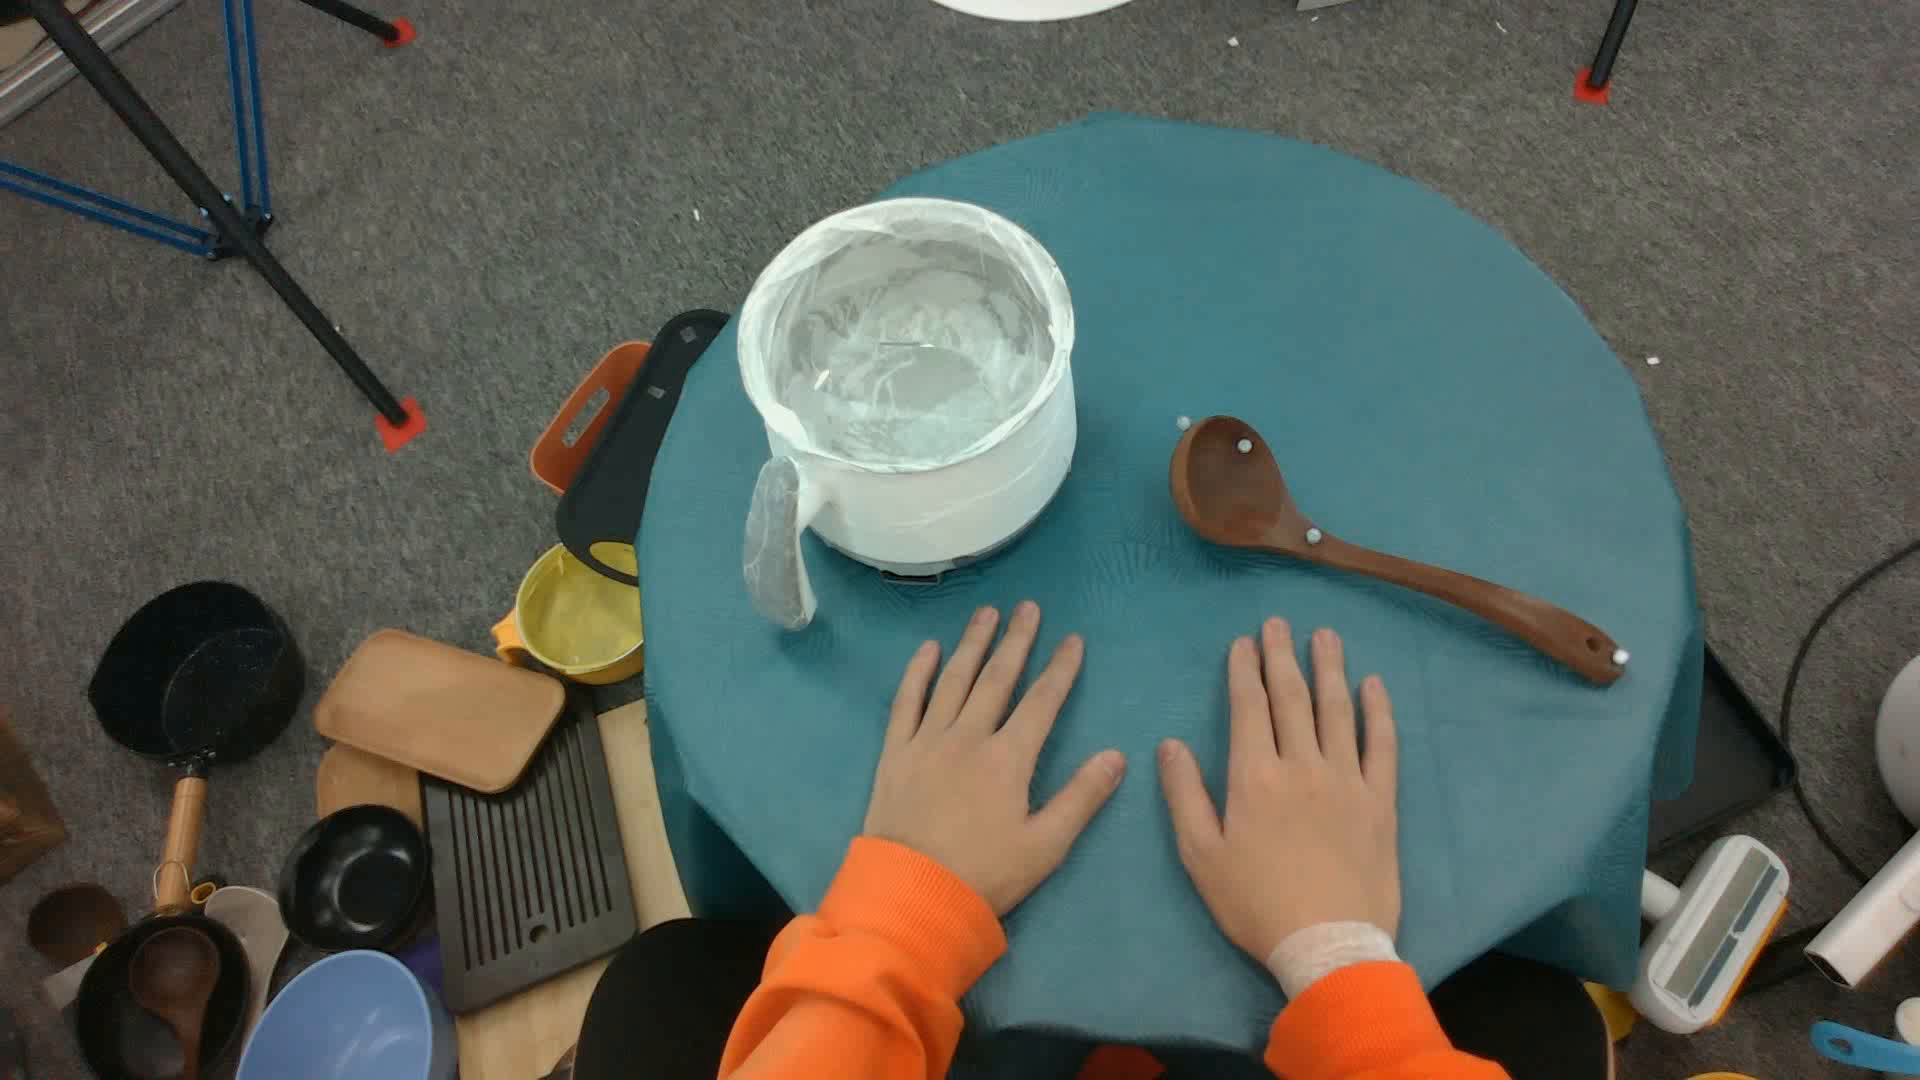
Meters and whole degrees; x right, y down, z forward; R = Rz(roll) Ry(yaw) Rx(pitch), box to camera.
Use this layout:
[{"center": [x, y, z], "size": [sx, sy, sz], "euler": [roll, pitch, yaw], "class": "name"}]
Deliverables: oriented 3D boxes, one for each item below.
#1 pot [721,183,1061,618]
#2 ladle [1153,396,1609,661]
[{"center": [-0.048, -0.067, 0.760], "size": [0.178, 0.136, 0.234], "euler": [28, 68, 19], "class": "pot"}, {"center": [0.227, -0.004, 0.744], "size": [0.260, 0.065, 0.077], "euler": [24, 66, 17], "class": "ladle"}]
